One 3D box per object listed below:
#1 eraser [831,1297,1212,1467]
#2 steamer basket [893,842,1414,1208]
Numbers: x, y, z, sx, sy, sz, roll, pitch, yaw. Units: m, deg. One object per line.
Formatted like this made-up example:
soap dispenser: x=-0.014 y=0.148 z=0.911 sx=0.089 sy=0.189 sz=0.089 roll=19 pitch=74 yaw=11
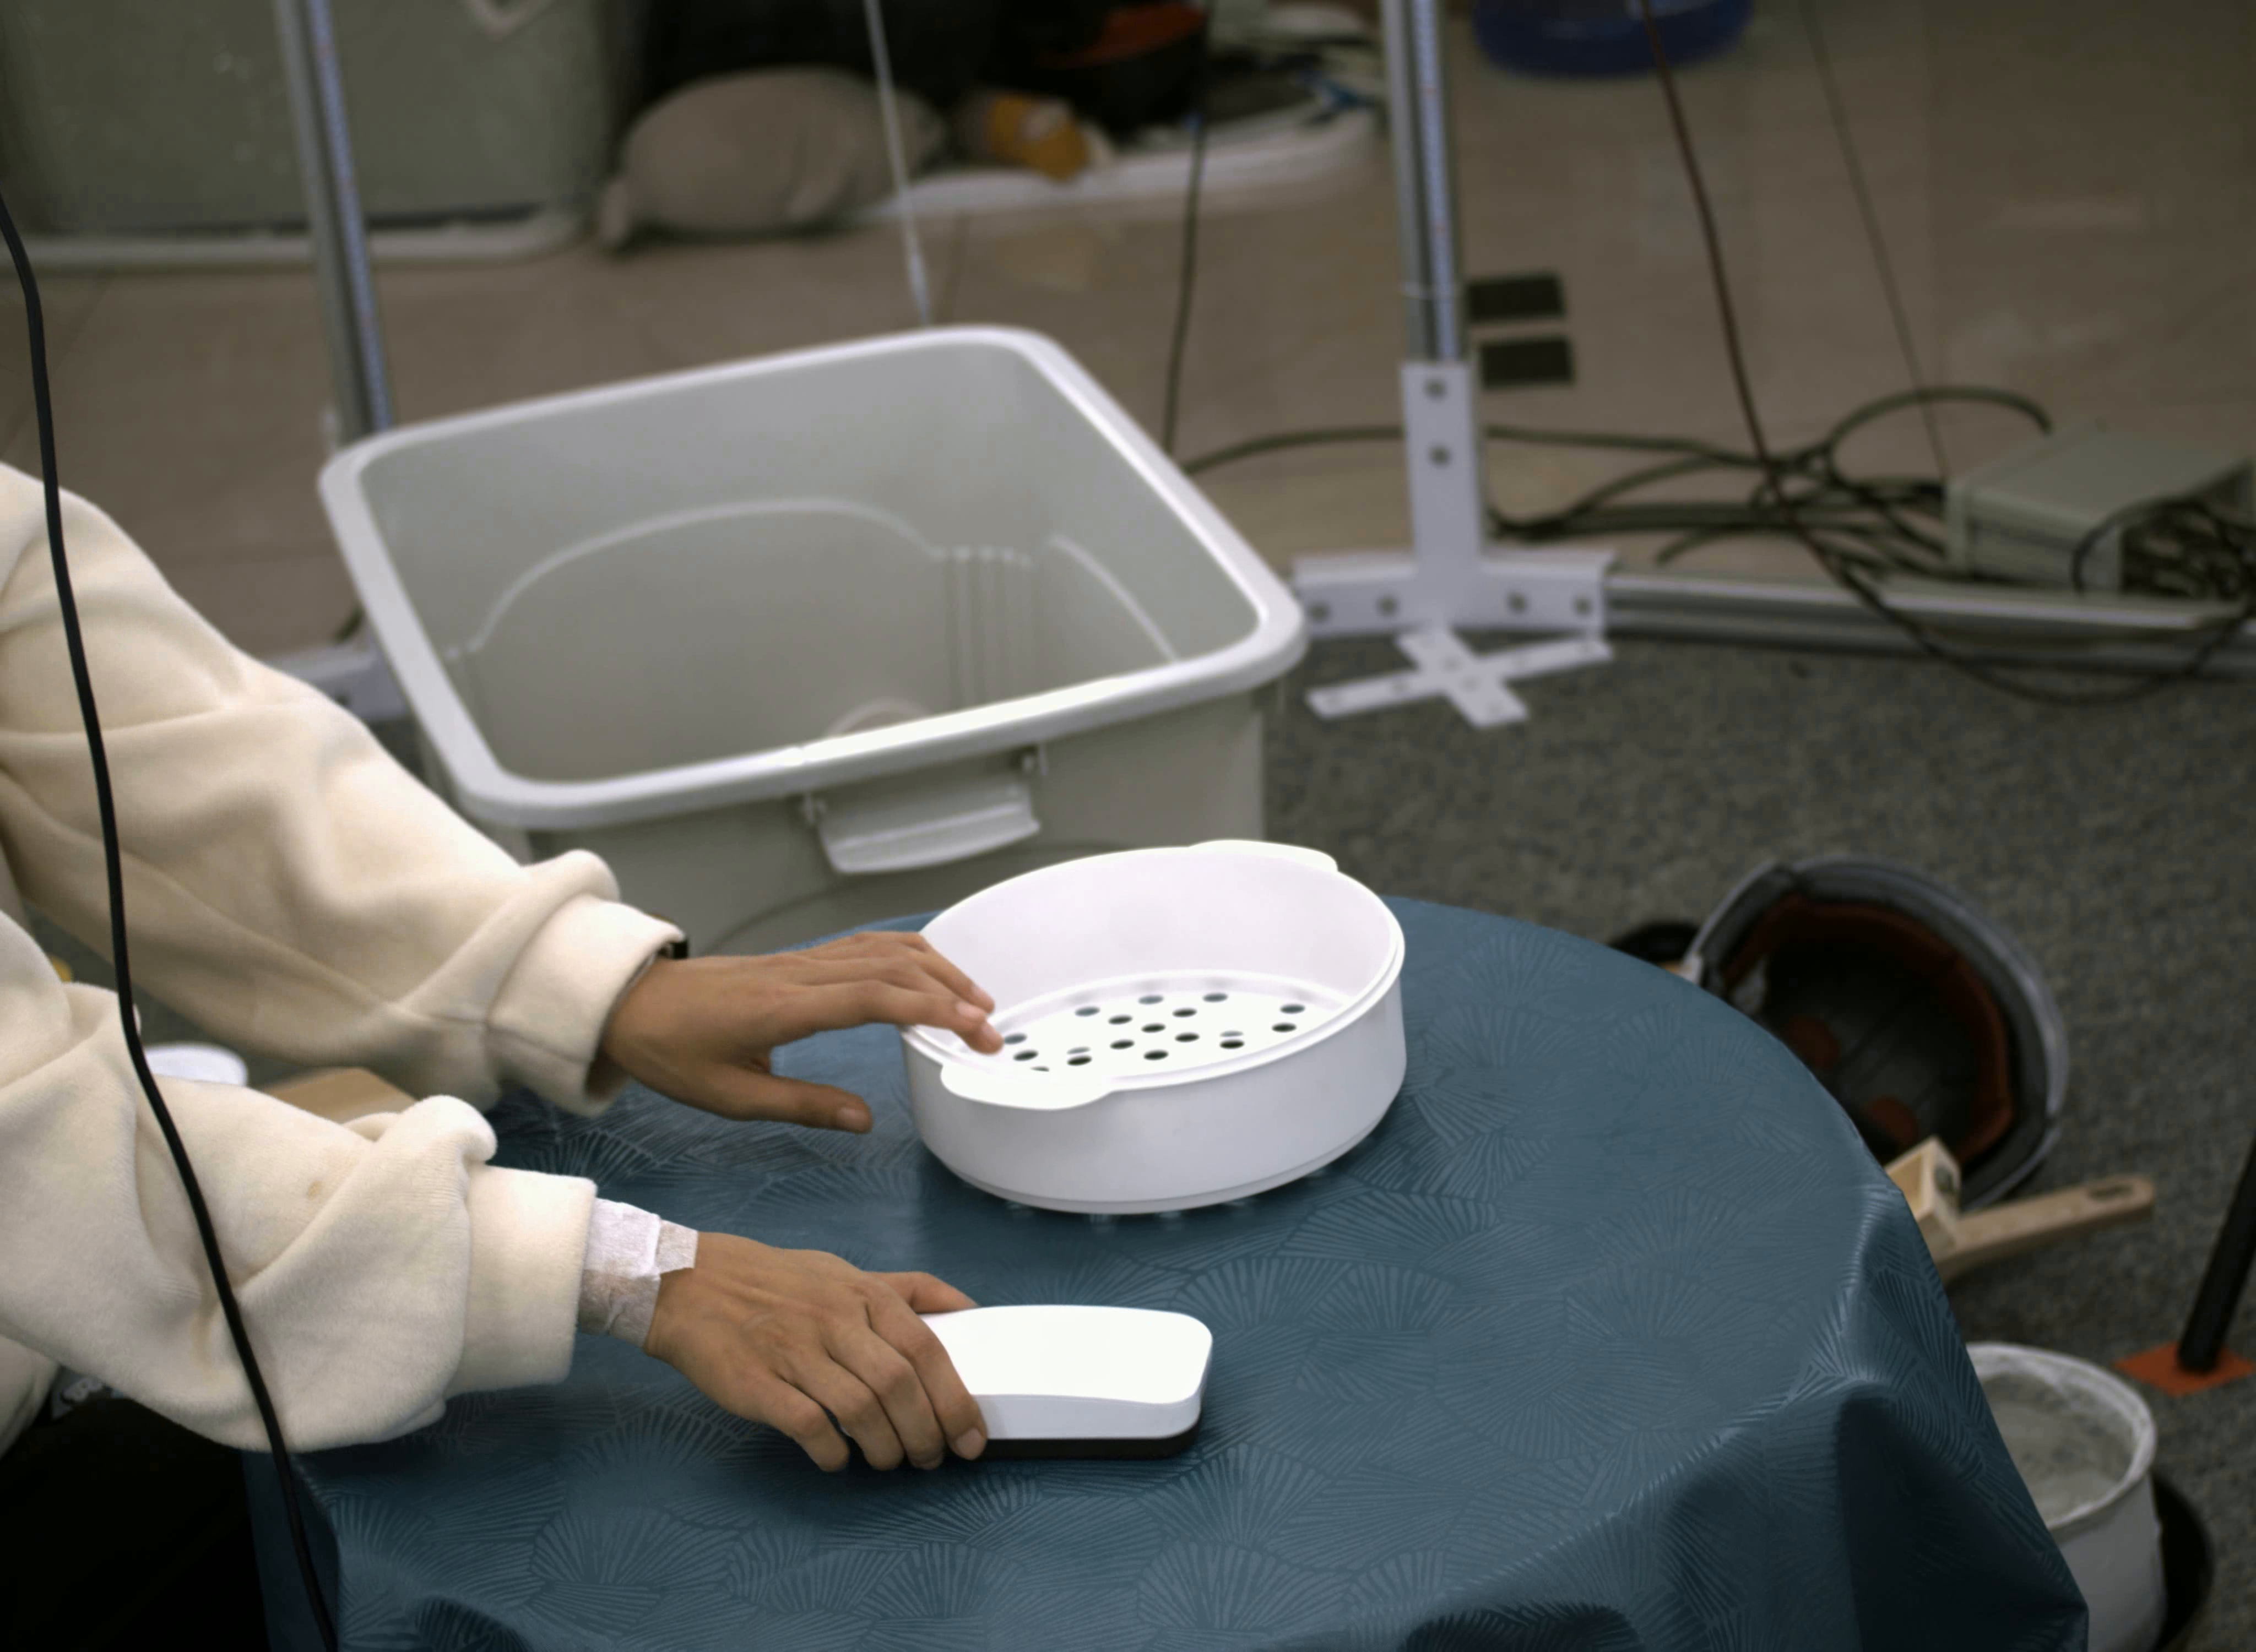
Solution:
eraser: x=-0.037 y=0.197 z=1.997 sx=0.131 sy=0.035 sz=0.062 roll=0 pitch=27 yaw=12
steamer basket: x=0.012 y=0.079 z=2.195 sx=0.201 sy=0.070 sz=0.228 roll=7 pitch=27 yaw=28
